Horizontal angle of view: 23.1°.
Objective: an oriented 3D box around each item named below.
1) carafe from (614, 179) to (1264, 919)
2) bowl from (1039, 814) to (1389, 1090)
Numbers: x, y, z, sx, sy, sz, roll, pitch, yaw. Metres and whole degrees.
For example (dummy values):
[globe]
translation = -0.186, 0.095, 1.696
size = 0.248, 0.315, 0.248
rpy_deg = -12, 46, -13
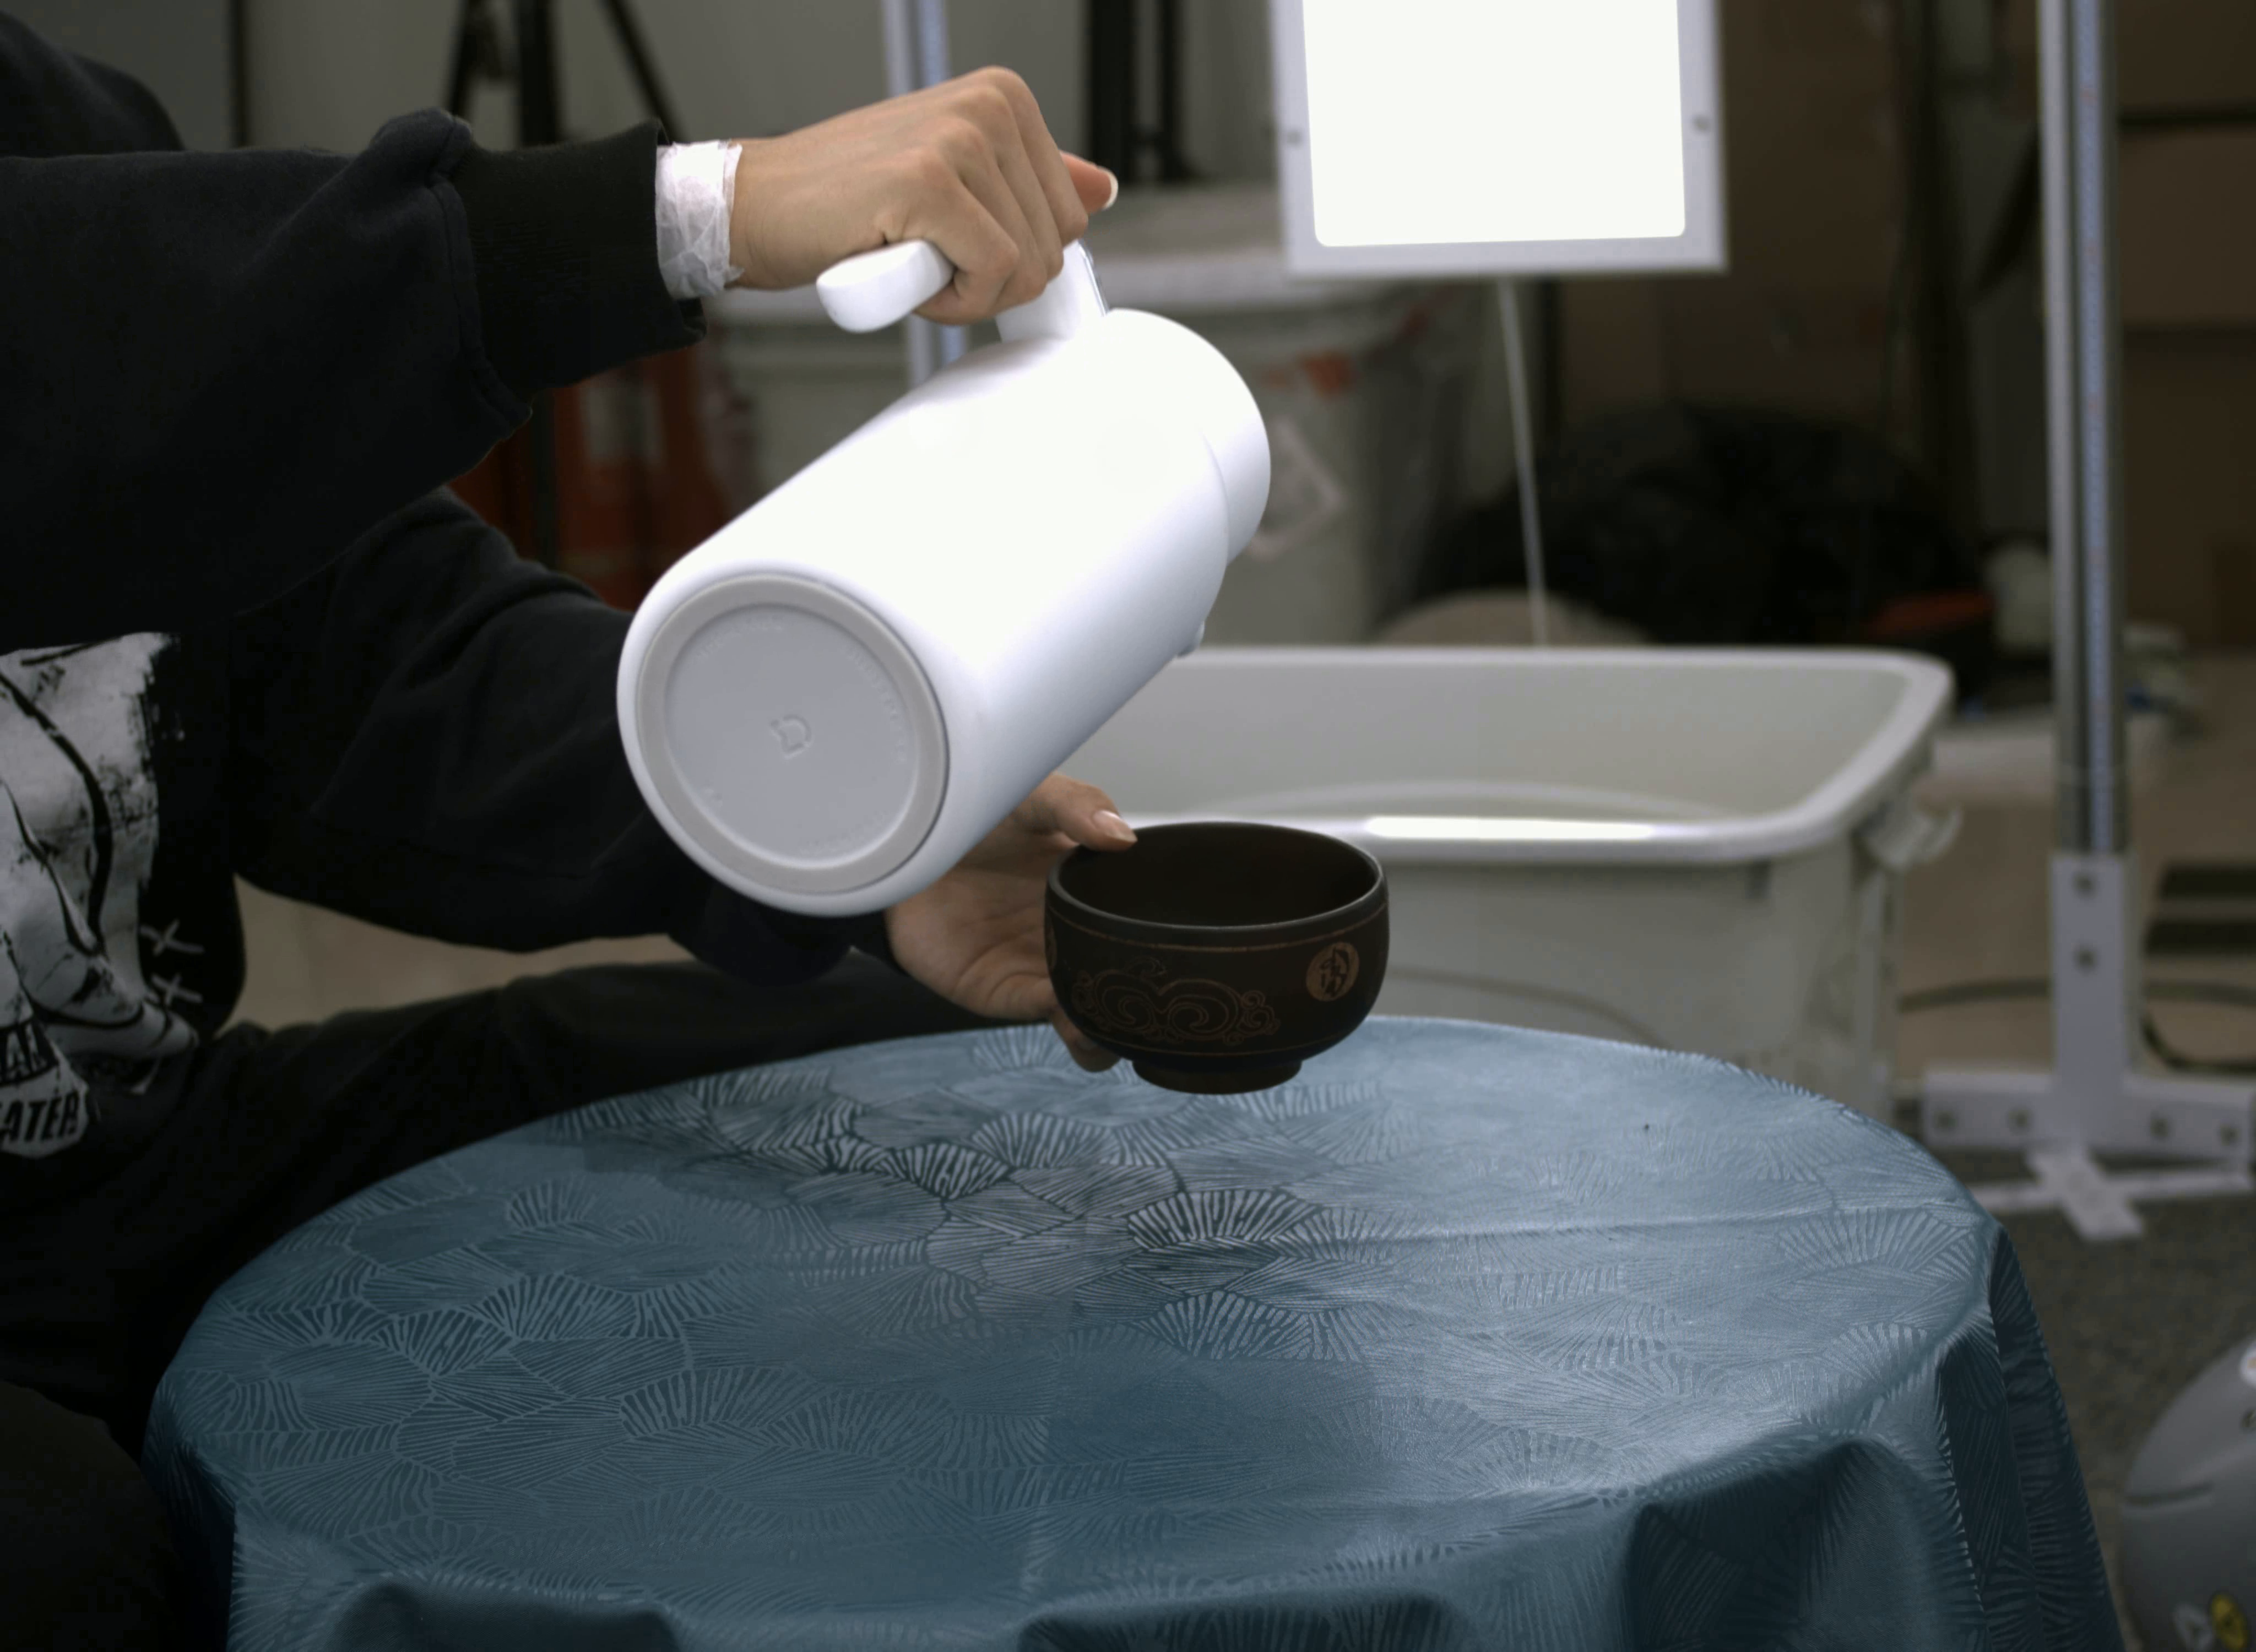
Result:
[carafe]
translation = -0.052, -0.088, 1.663
size = 0.126, 0.173, 0.263
rpy_deg = -8, 18, 29
[bowl]
translation = 0.029, 0.046, 1.837
size = 0.117, 0.070, 0.118
rpy_deg = -2, 18, -1
